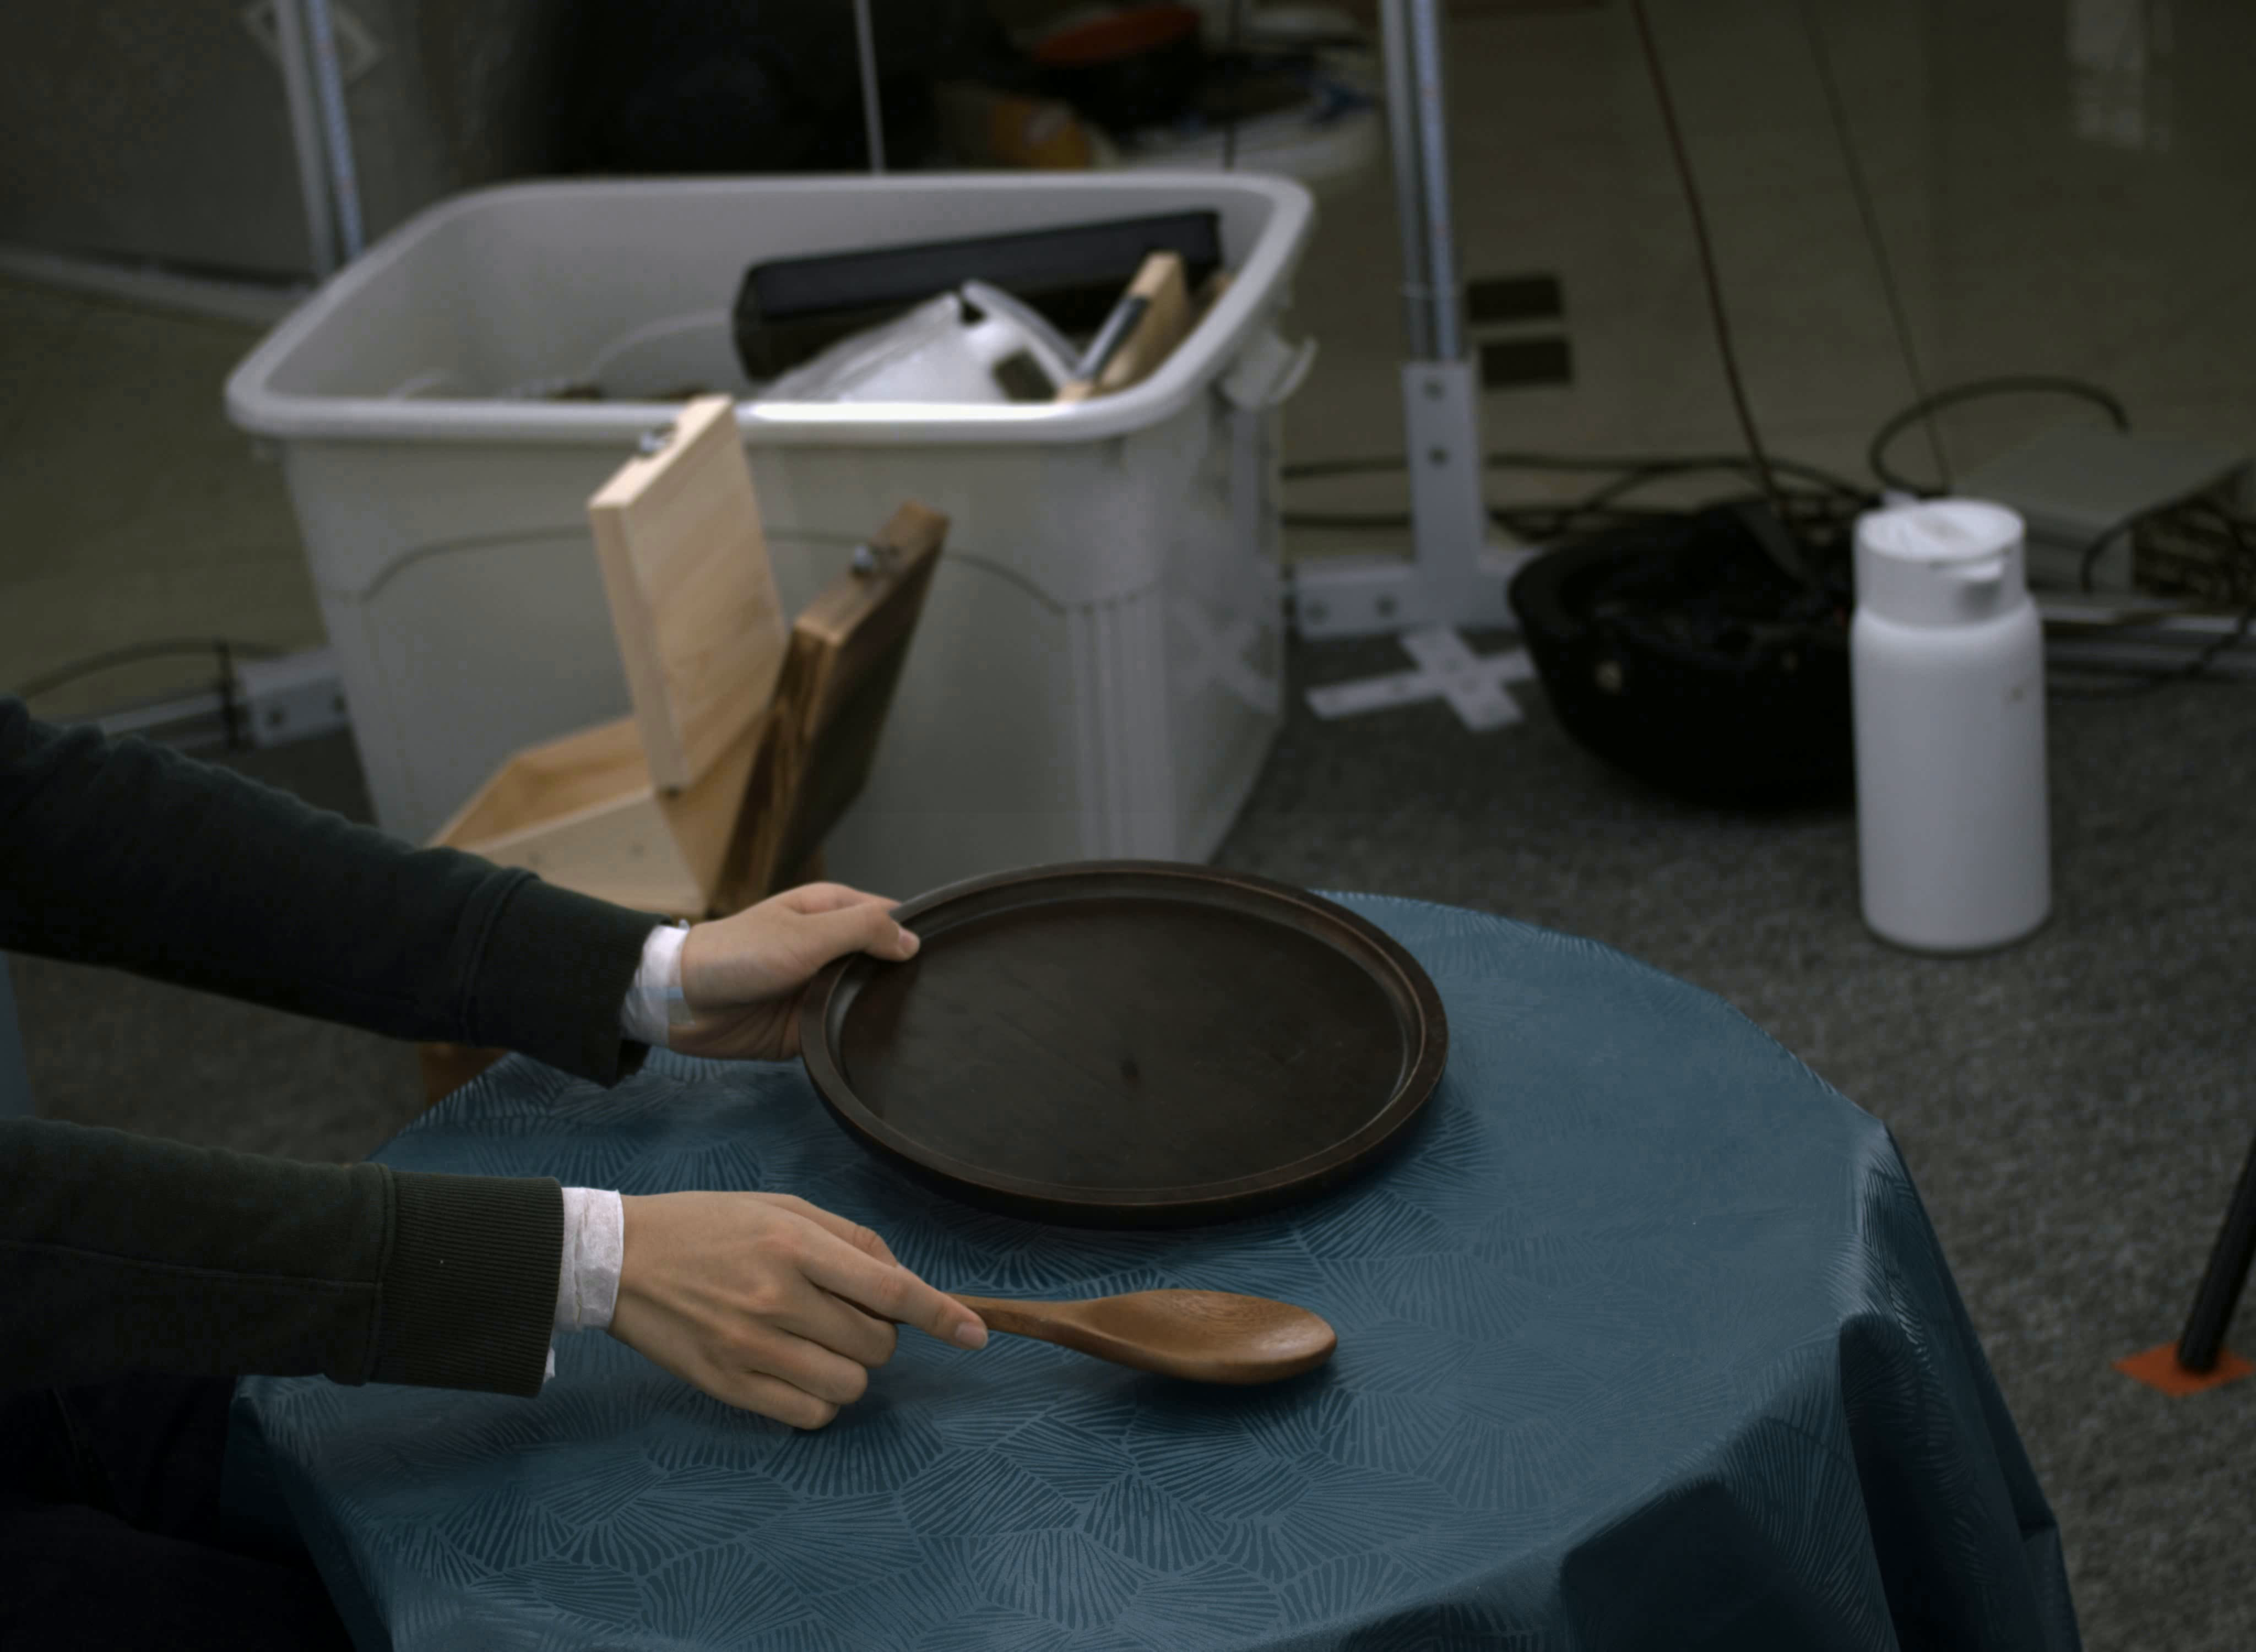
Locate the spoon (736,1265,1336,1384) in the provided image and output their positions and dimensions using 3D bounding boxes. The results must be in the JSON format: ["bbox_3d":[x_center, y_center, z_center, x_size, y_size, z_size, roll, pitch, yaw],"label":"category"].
[{"bbox_3d":[-0.033,0.177,2.025,0.215,0.017,0.075,6,15,5],"label":"spoon"}]

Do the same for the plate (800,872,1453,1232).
[{"bbox_3d":[-0.001,0.086,2.202,0.254,0.029,0.250,2,30,-1],"label":"plate"}]
